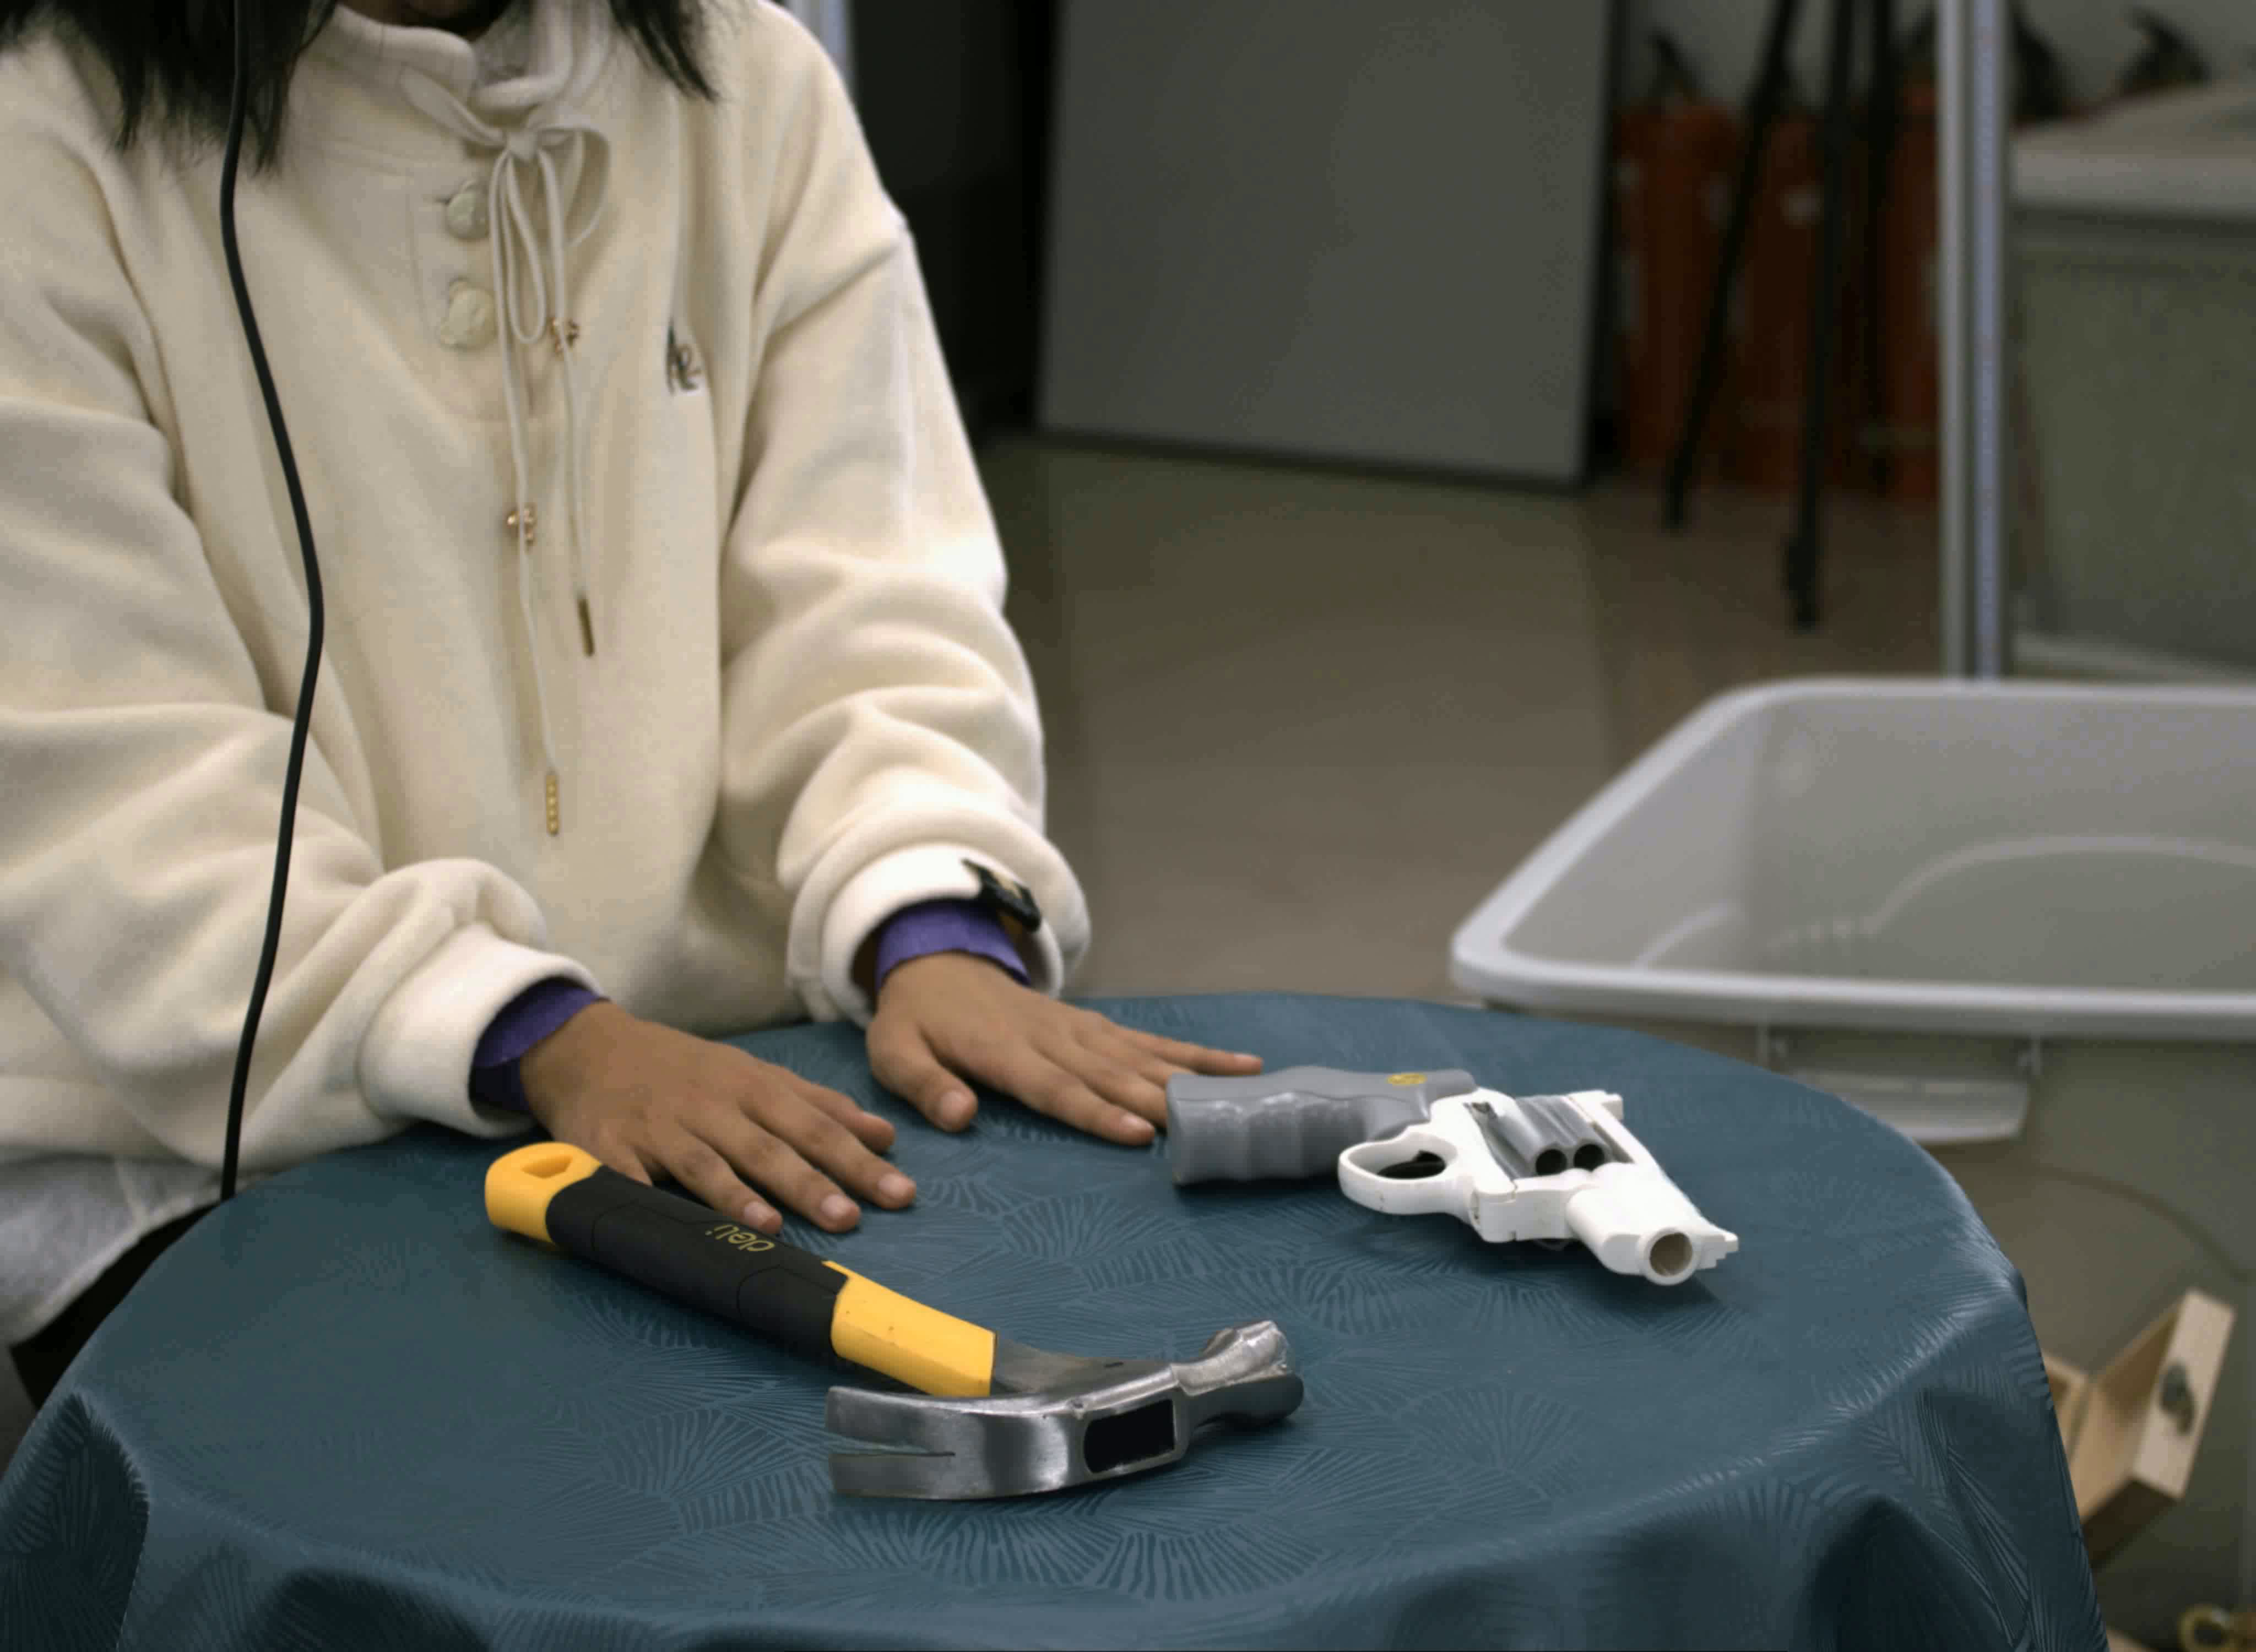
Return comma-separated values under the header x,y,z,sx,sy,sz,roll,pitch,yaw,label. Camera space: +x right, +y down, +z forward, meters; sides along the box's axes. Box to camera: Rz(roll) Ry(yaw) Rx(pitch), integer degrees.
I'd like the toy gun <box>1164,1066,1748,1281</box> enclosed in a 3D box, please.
x,y,z,sx,sy,sz,roll,pitch,yaw,label
0.098,0.109,1.707,0.139,0.039,0.210,-7,14,-12,toy gun

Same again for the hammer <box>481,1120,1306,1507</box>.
x,y,z,sx,sy,sz,roll,pitch,yaw,label
-0.098,0.140,1.641,0.128,0.032,0.342,-16,20,-33,hammer
